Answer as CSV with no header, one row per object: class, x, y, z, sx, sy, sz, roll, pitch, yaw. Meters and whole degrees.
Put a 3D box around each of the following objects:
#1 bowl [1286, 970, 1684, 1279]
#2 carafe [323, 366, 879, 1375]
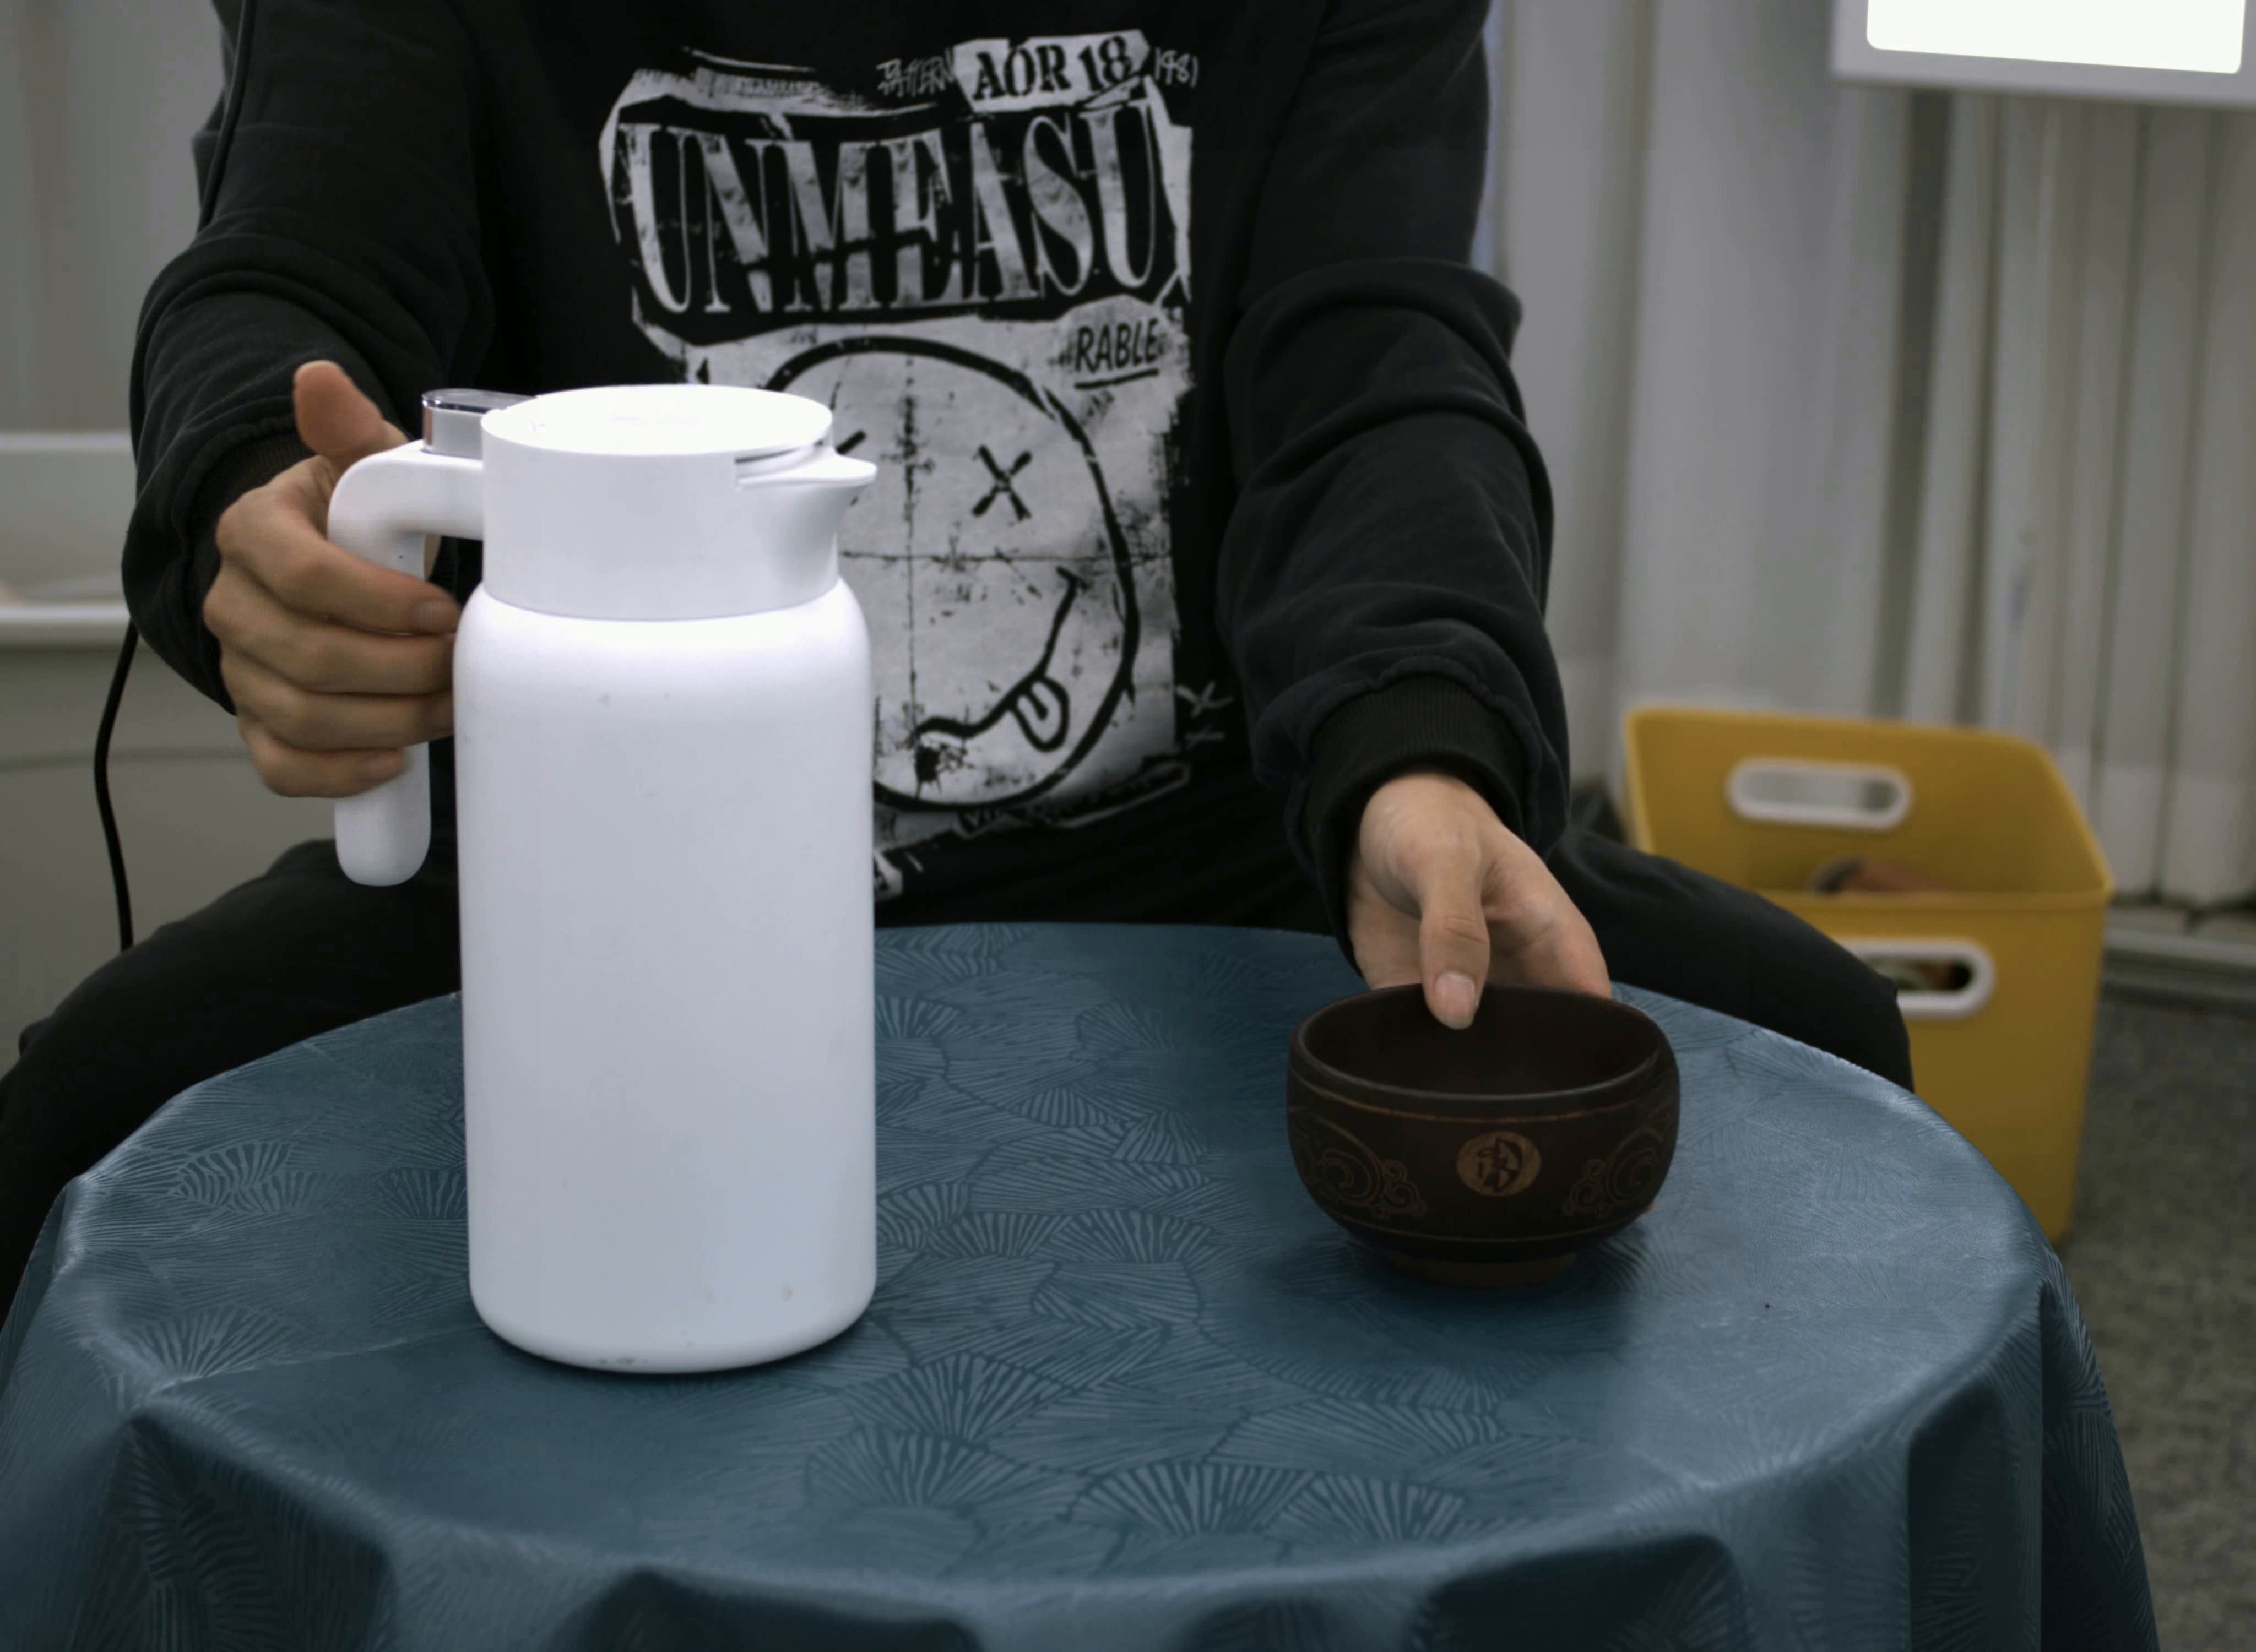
bowl,0.105,0.092,1.559,0.117,0.070,0.117,0,15,1
carafe,-0.147,0.010,1.484,0.171,0.271,0.124,8,19,23
